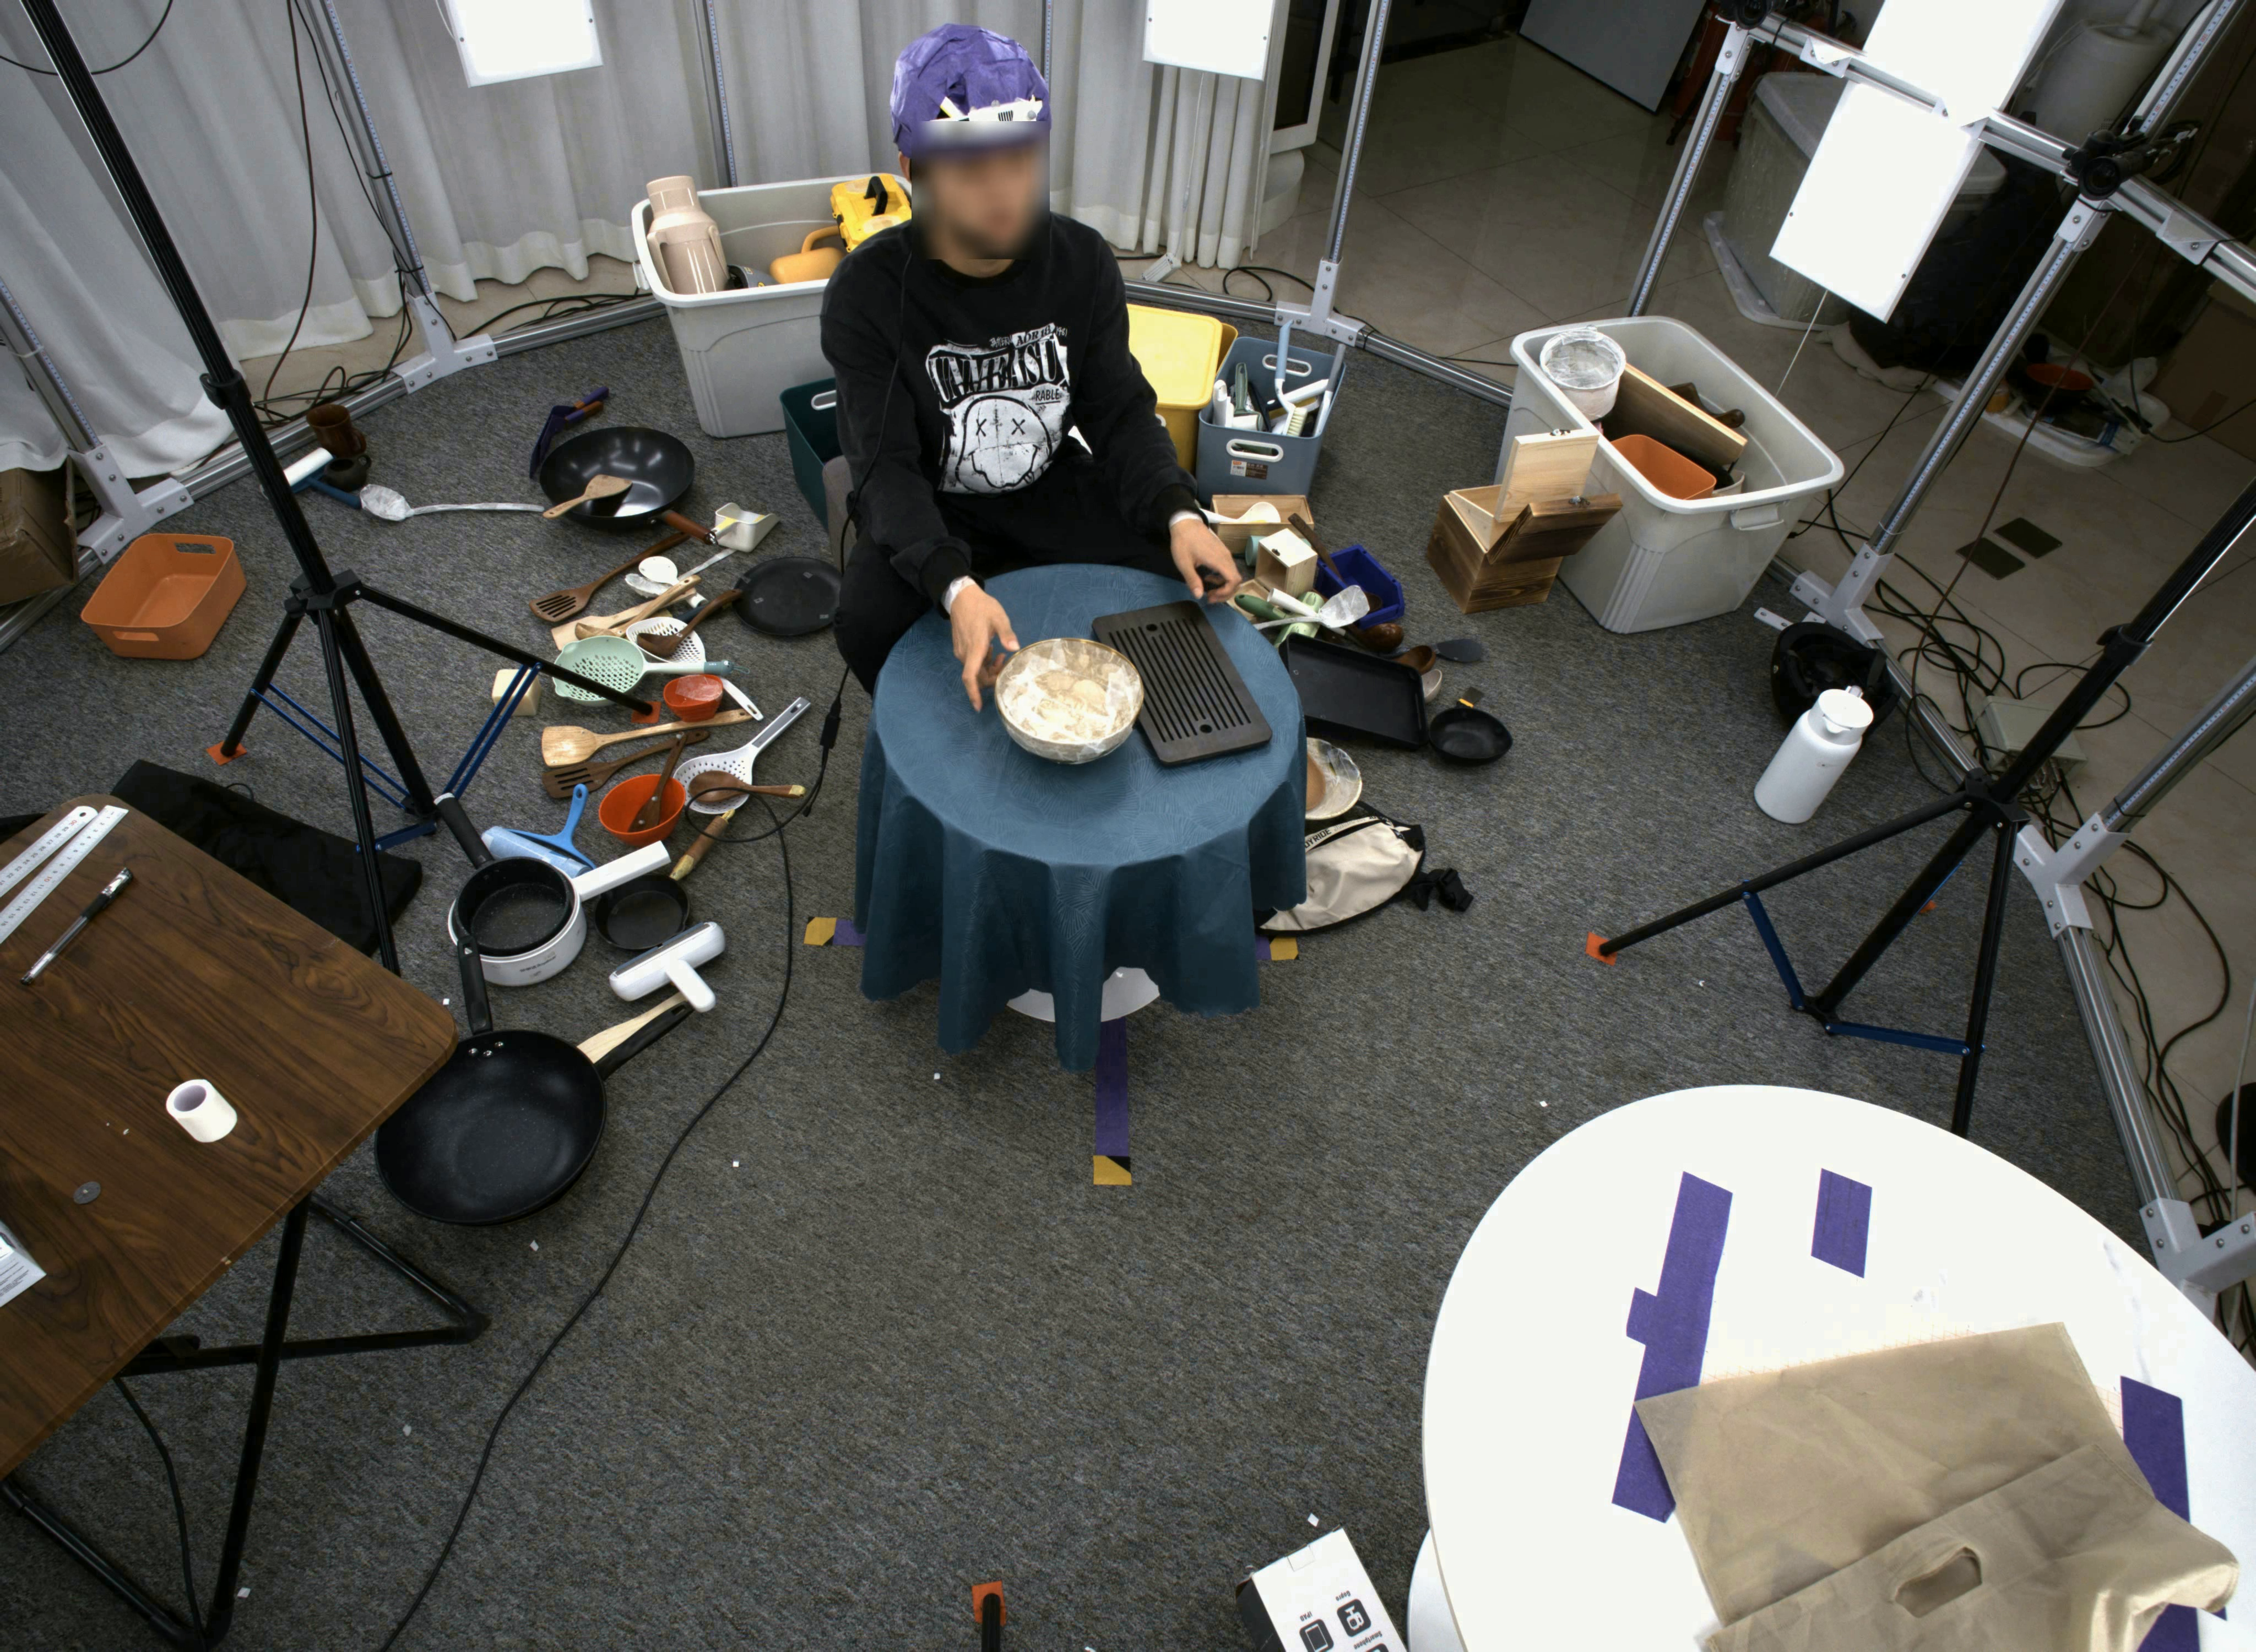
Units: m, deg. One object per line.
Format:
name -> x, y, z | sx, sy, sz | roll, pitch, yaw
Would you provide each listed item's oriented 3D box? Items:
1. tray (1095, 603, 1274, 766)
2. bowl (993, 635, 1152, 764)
tray -> 0.077, -0.209, 1.861 | 0.170, 0.018, 0.313 | -13, 51, -15
bowl -> -0.077, -0.158, 1.756 | 0.214, 0.092, 0.220 | 1, 49, -1
